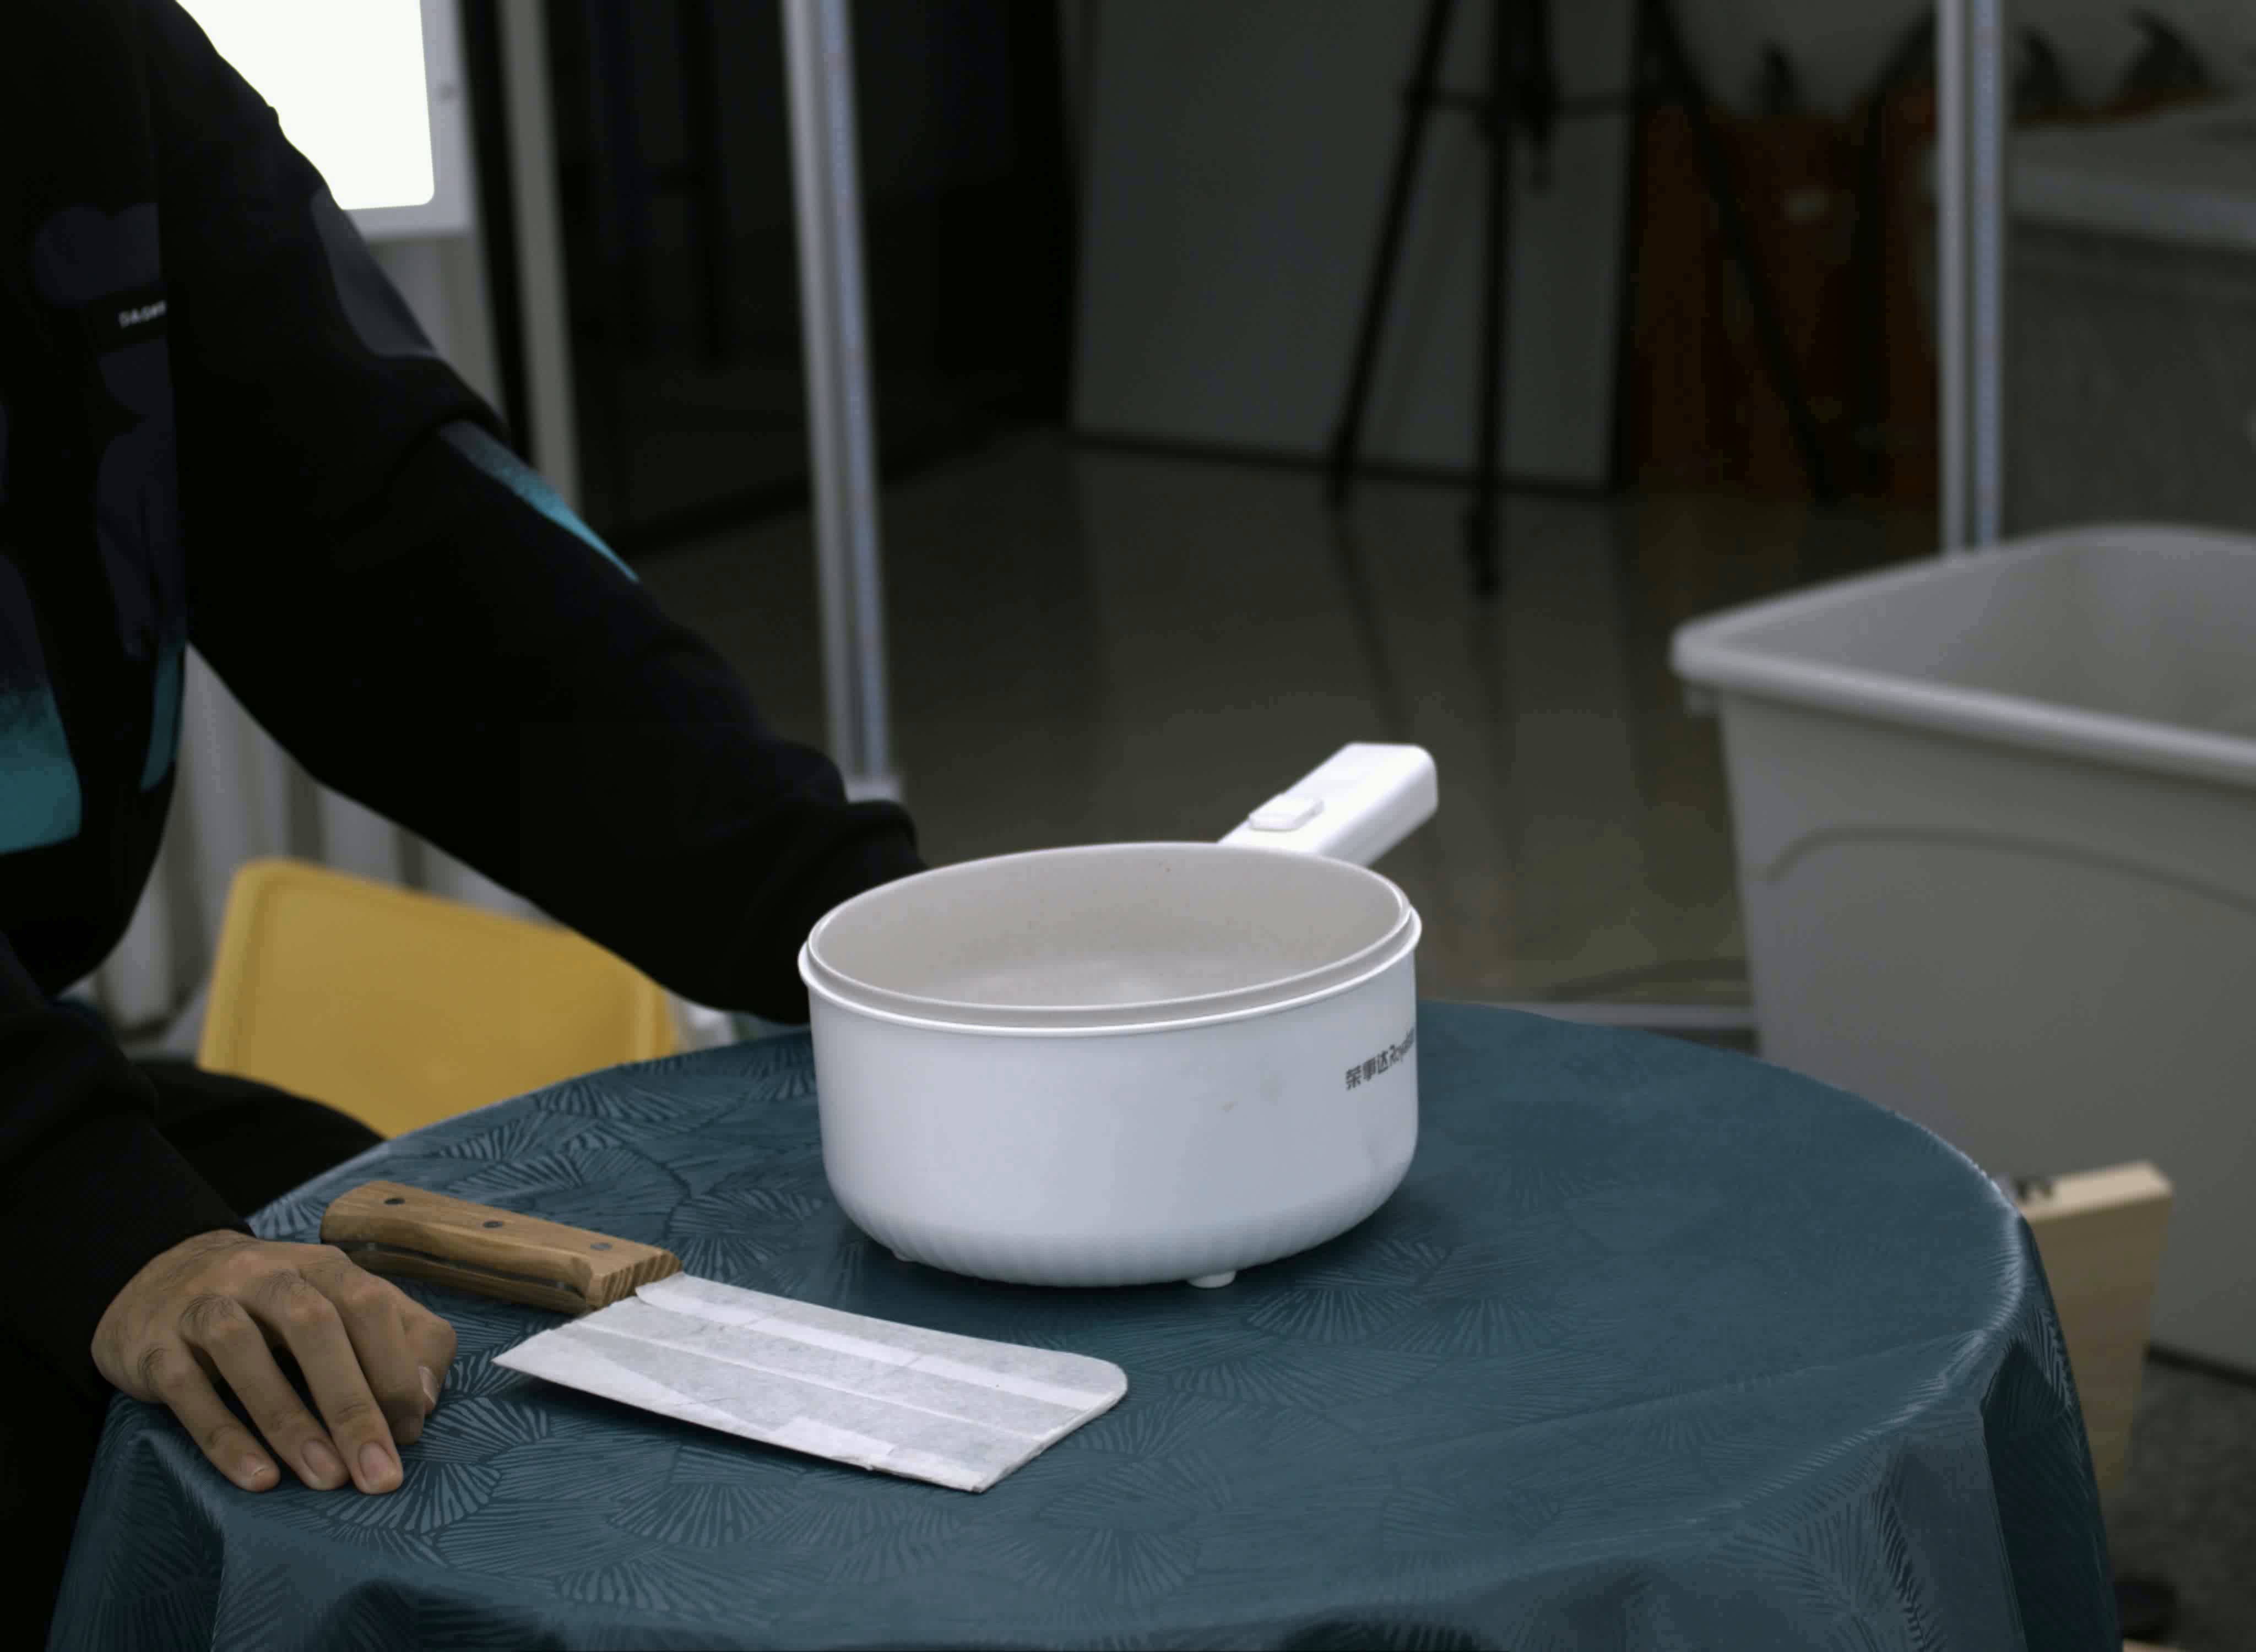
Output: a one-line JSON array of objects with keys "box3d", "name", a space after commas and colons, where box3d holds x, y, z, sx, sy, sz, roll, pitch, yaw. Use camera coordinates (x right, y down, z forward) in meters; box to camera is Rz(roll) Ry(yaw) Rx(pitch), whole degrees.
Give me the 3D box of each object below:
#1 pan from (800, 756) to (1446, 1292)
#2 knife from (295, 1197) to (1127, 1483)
[{"box3d": [0.028, 0.062, 1.799, 0.201, 0.103, 0.350, 0, 14, 24], "name": "pan"}, {"box3d": [-0.136, 0.154, 1.643, 0.318, 0.022, 0.112, 11, 20, 39], "name": "knife"}]
